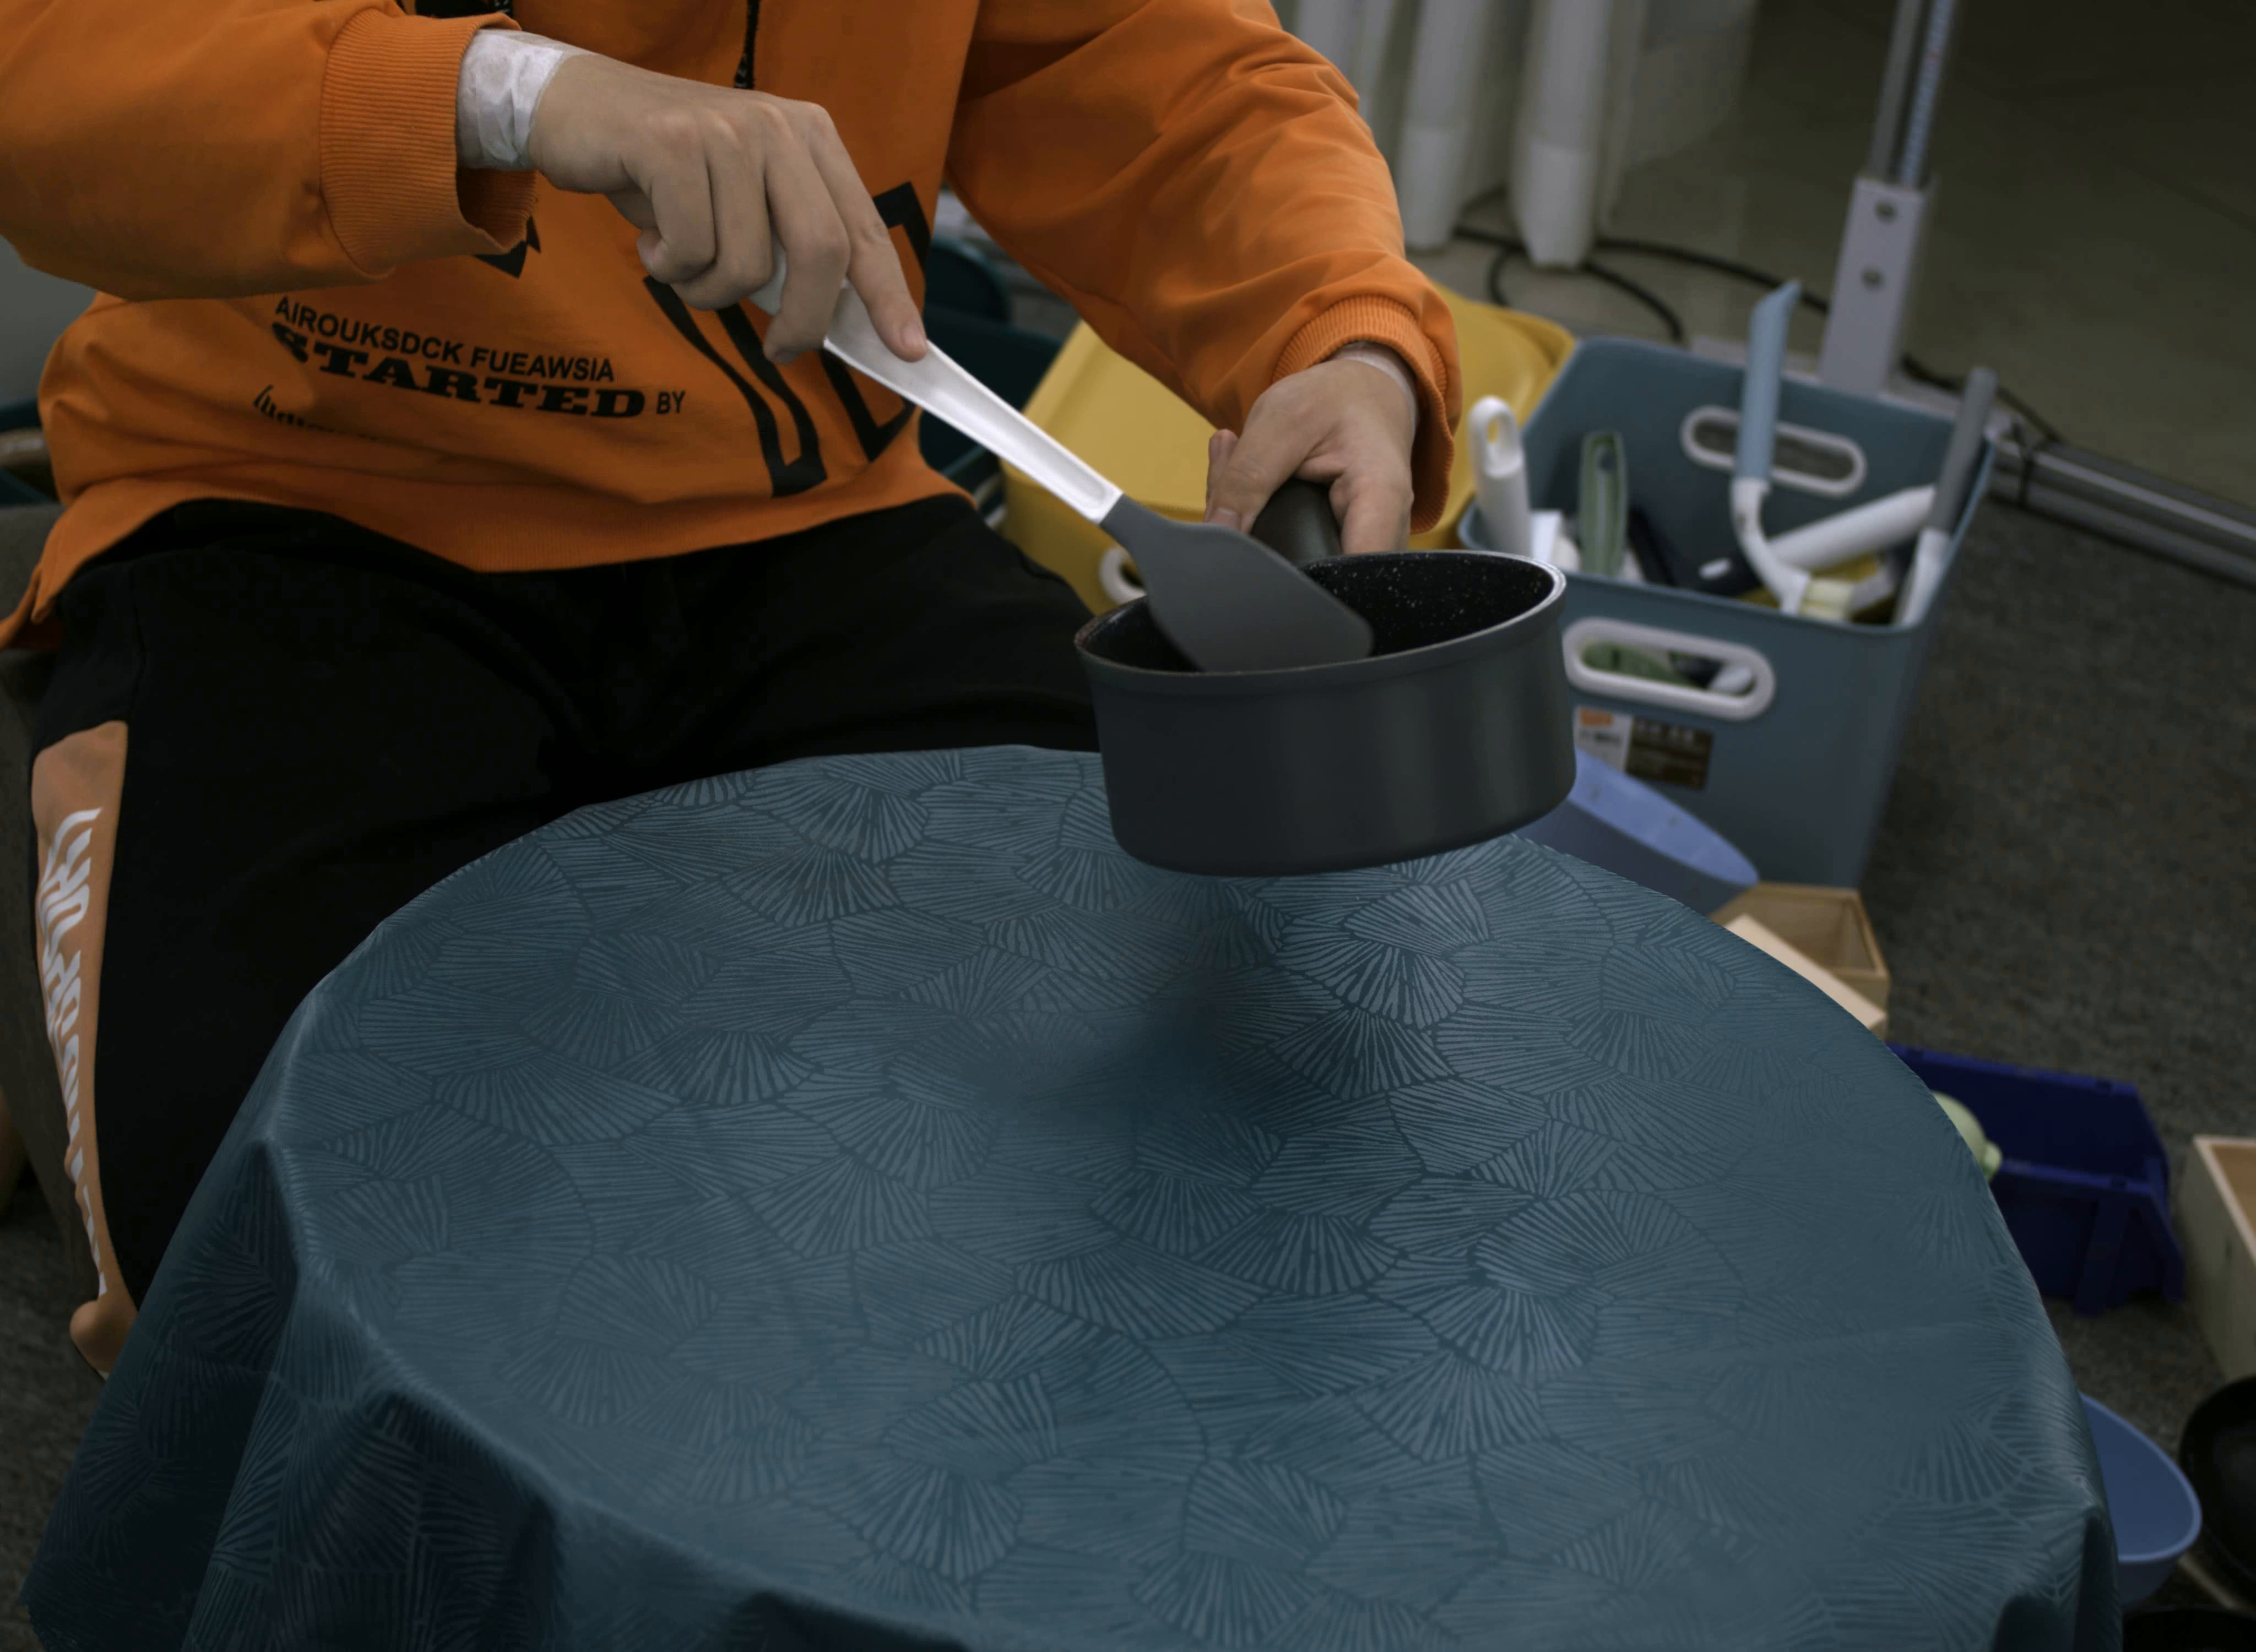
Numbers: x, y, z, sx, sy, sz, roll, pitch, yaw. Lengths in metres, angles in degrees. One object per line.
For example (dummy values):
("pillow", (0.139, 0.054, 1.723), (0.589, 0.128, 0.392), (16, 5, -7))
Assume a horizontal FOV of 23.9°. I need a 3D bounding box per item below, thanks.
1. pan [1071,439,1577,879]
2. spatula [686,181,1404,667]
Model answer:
("pan", (0.070, -0.063, 1.919), (0.171, 0.086, 0.330), (-6, 16, 3))
("spatula", (-0.031, -0.134, 1.885), (0.287, 0.059, 0.032), (34, -12, 0))
